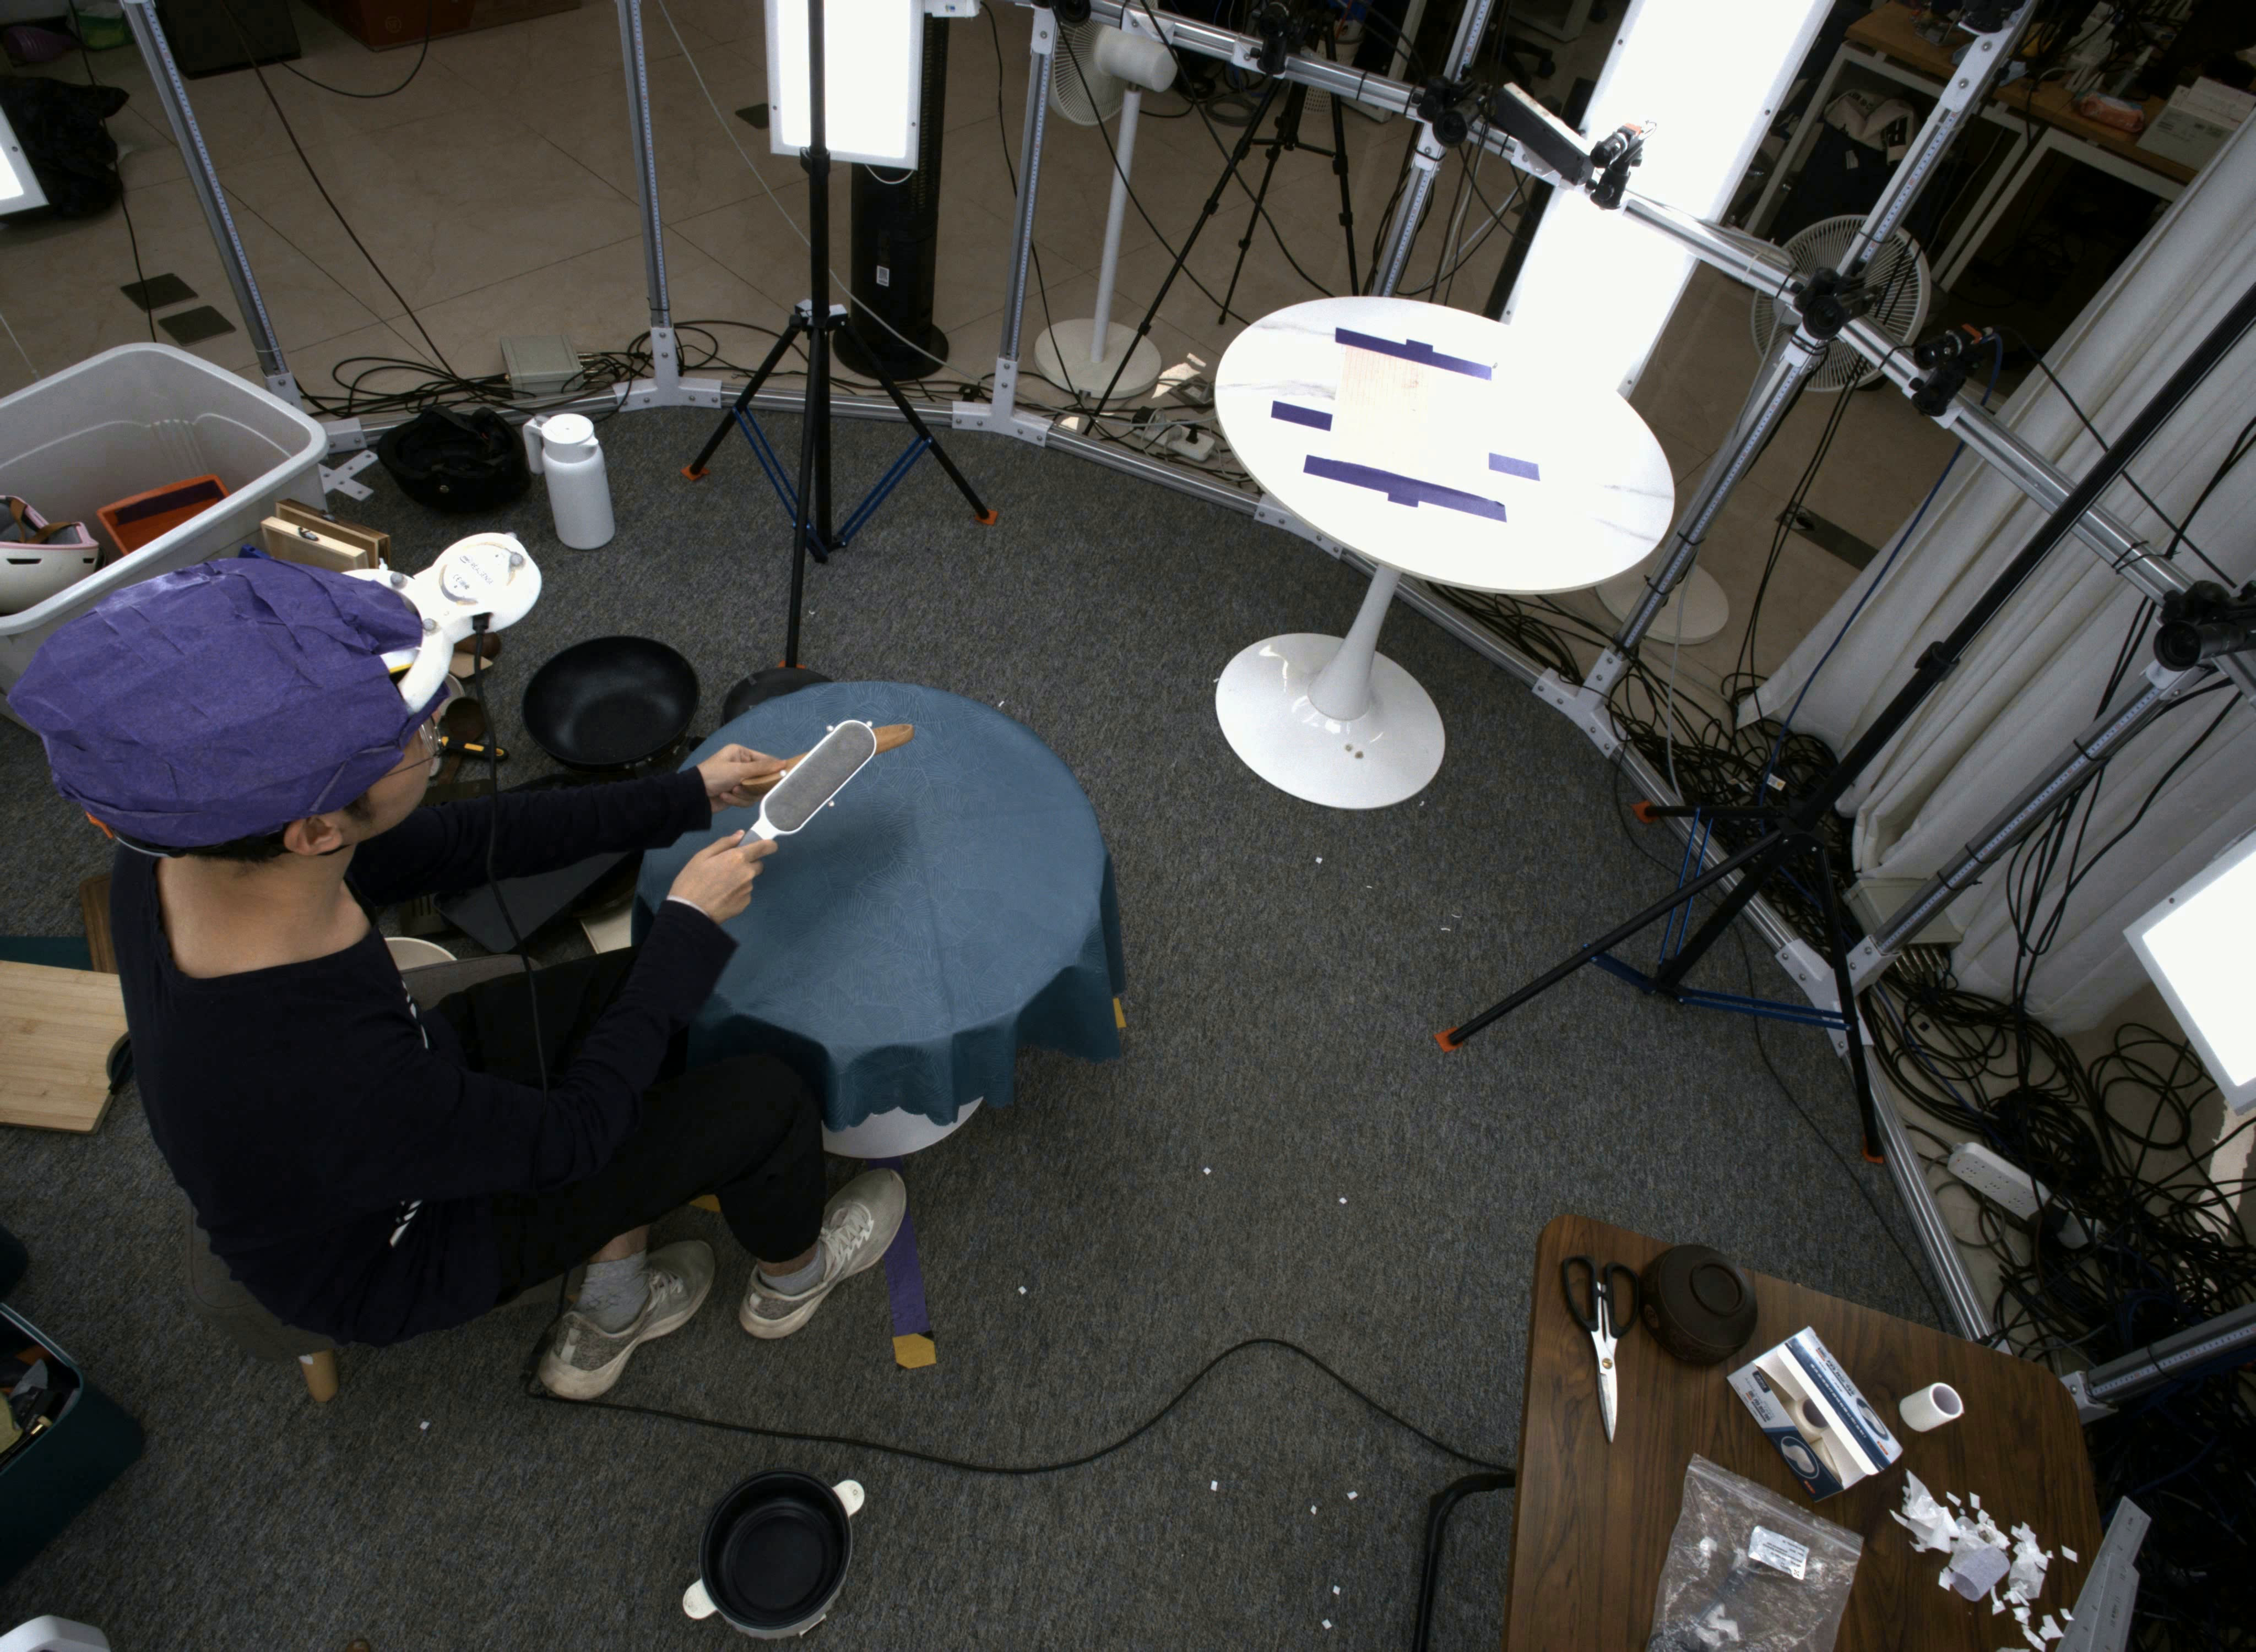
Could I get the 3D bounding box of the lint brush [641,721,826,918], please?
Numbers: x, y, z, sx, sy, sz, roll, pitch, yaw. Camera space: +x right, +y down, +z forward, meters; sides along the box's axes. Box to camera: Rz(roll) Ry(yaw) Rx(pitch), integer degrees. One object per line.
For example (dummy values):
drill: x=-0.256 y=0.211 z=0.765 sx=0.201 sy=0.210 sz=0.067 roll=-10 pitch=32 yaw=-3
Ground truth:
lint brush: x=-0.459 y=-0.013 z=1.506 sx=0.062 sy=0.020 sz=0.308 roll=50 pitch=58 yaw=-22

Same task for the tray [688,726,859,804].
tray: x=-0.437 y=-0.078 z=1.607 sx=0.232 sy=0.098 sz=0.021 roll=-30 pitch=109 yaw=-35
